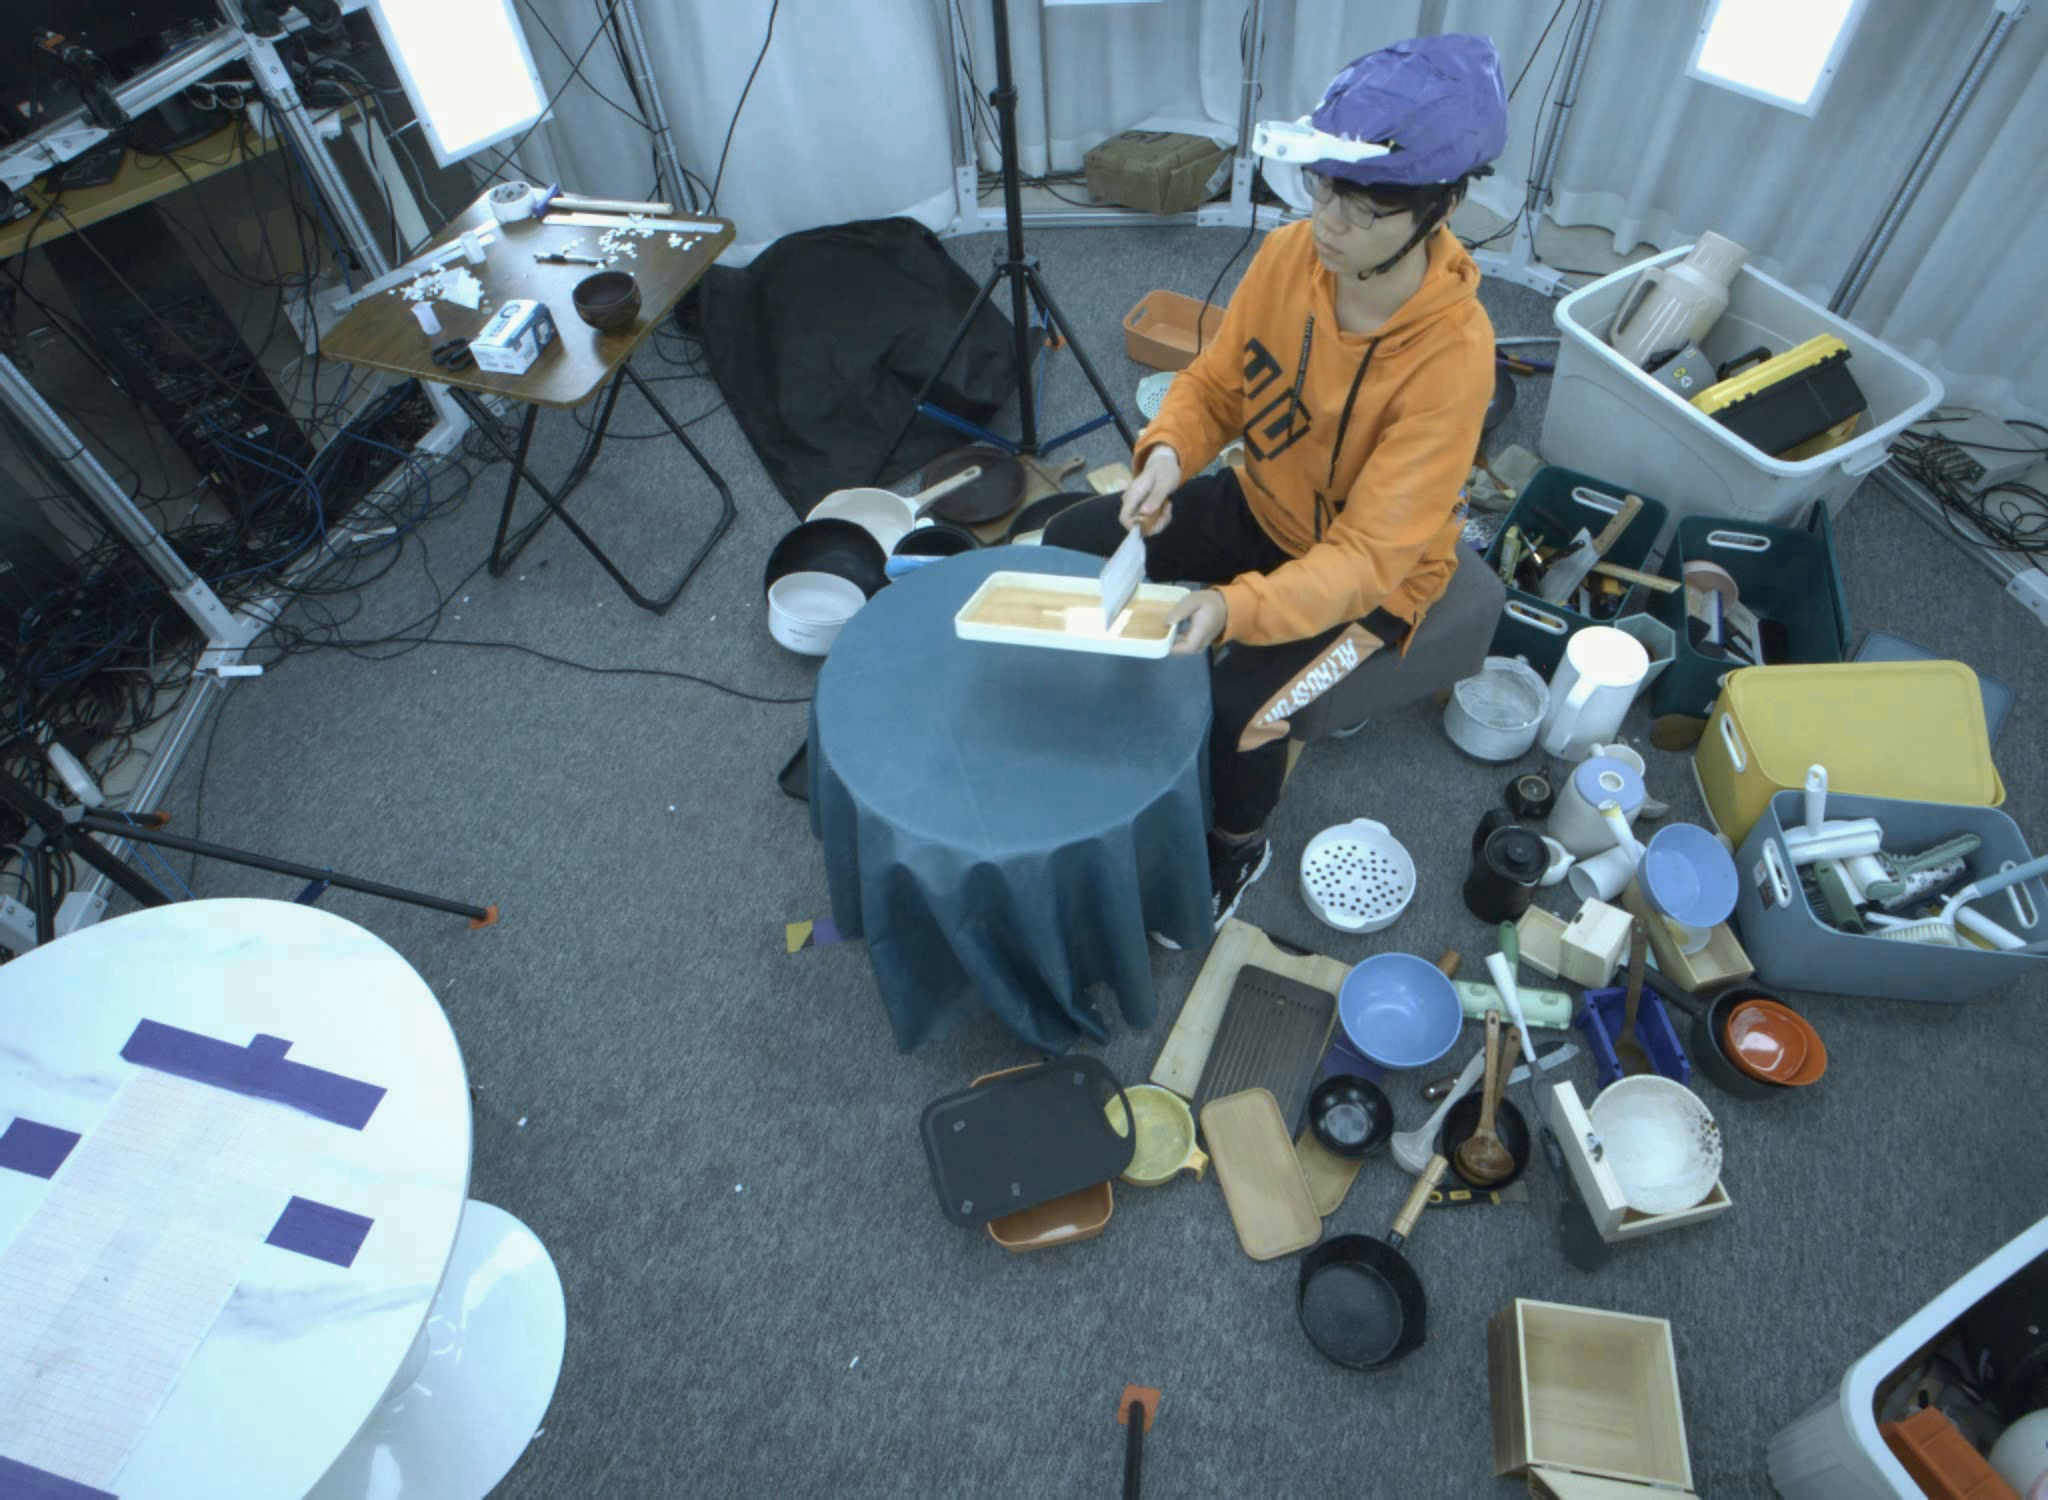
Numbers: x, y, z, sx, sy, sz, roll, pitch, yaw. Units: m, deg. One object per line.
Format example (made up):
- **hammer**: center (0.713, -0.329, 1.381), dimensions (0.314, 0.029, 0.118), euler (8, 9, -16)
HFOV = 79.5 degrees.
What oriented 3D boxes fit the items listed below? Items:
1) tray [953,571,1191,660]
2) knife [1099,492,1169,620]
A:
- **tray**: center (0.069, -0.190, 1.711), dimensions (0.297, 0.027, 0.192), euler (8, 32, 14)
- **knife**: center (0.155, -0.273, 1.725), dimensions (0.020, 0.094, 0.306), euler (6, 34, 21)
